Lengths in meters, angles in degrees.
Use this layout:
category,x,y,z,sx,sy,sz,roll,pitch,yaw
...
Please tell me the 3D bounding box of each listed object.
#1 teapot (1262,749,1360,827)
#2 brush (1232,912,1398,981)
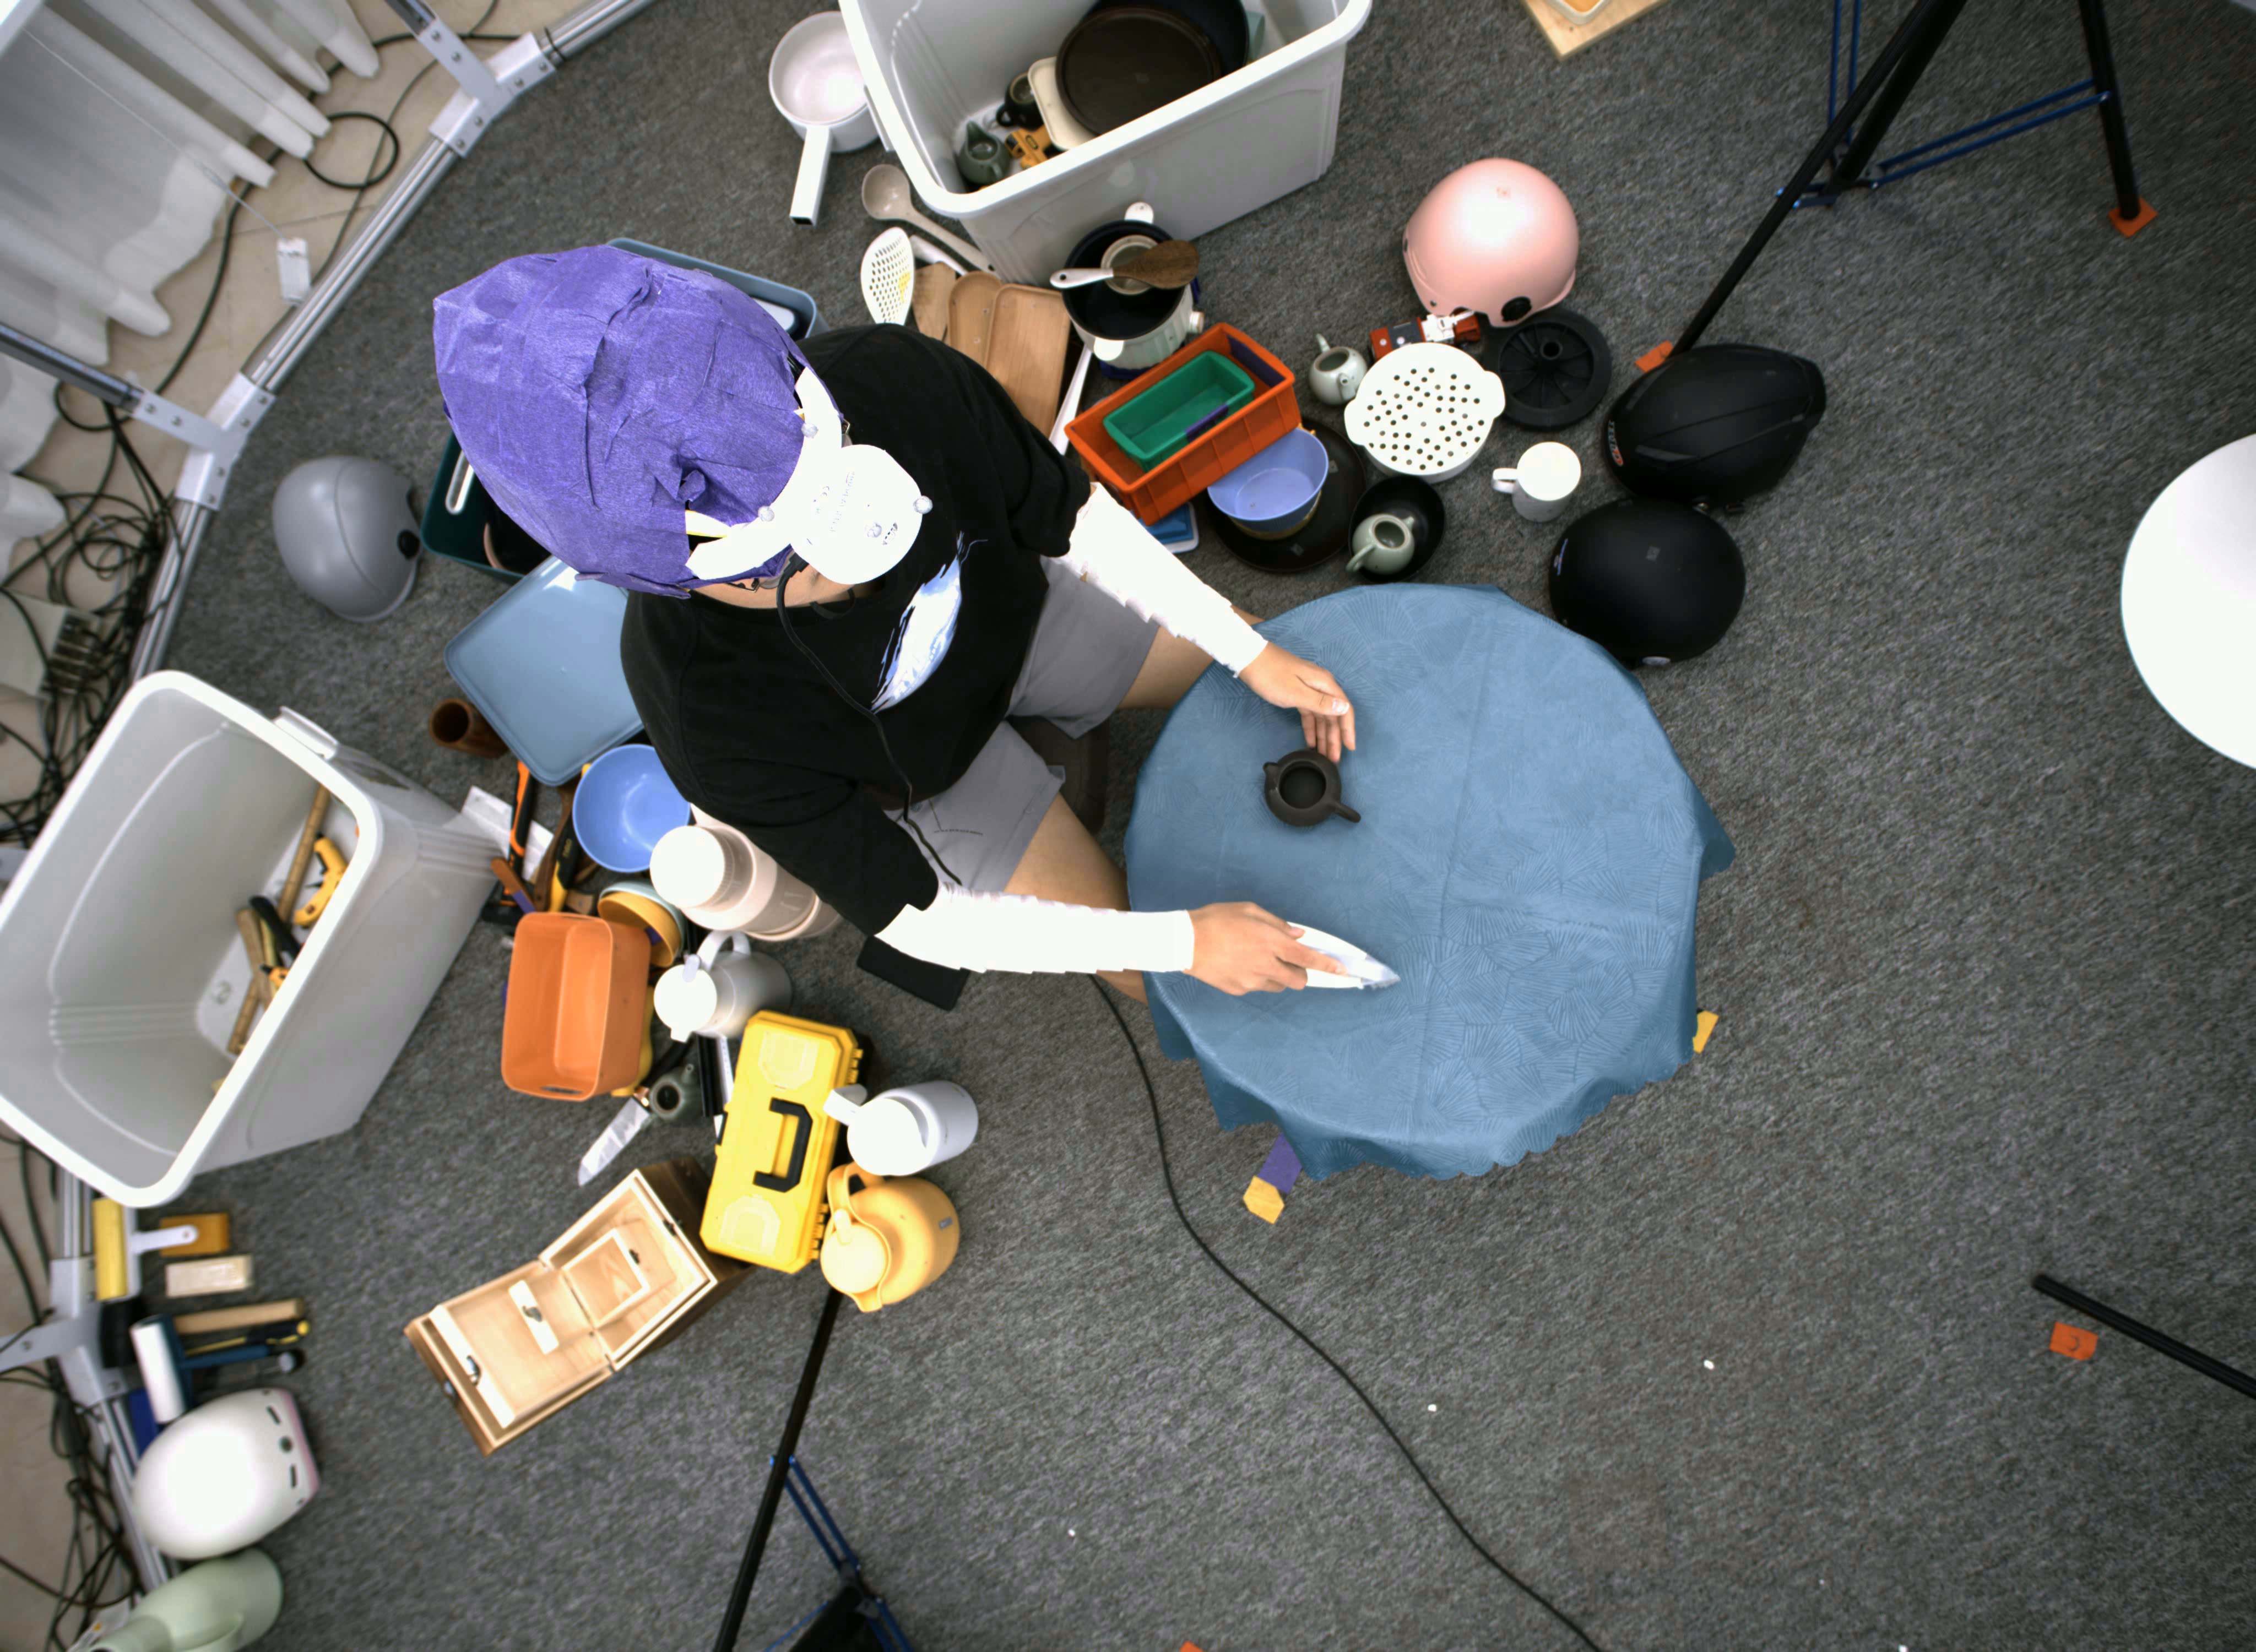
category,x,y,z,sx,sy,sz,roll,pitch,yaw
teapot,0.194,-0.035,1.453,0.114,0.053,0.083,32,93,12
brush,0.190,0.129,1.418,0.176,0.094,0.061,12,89,11
